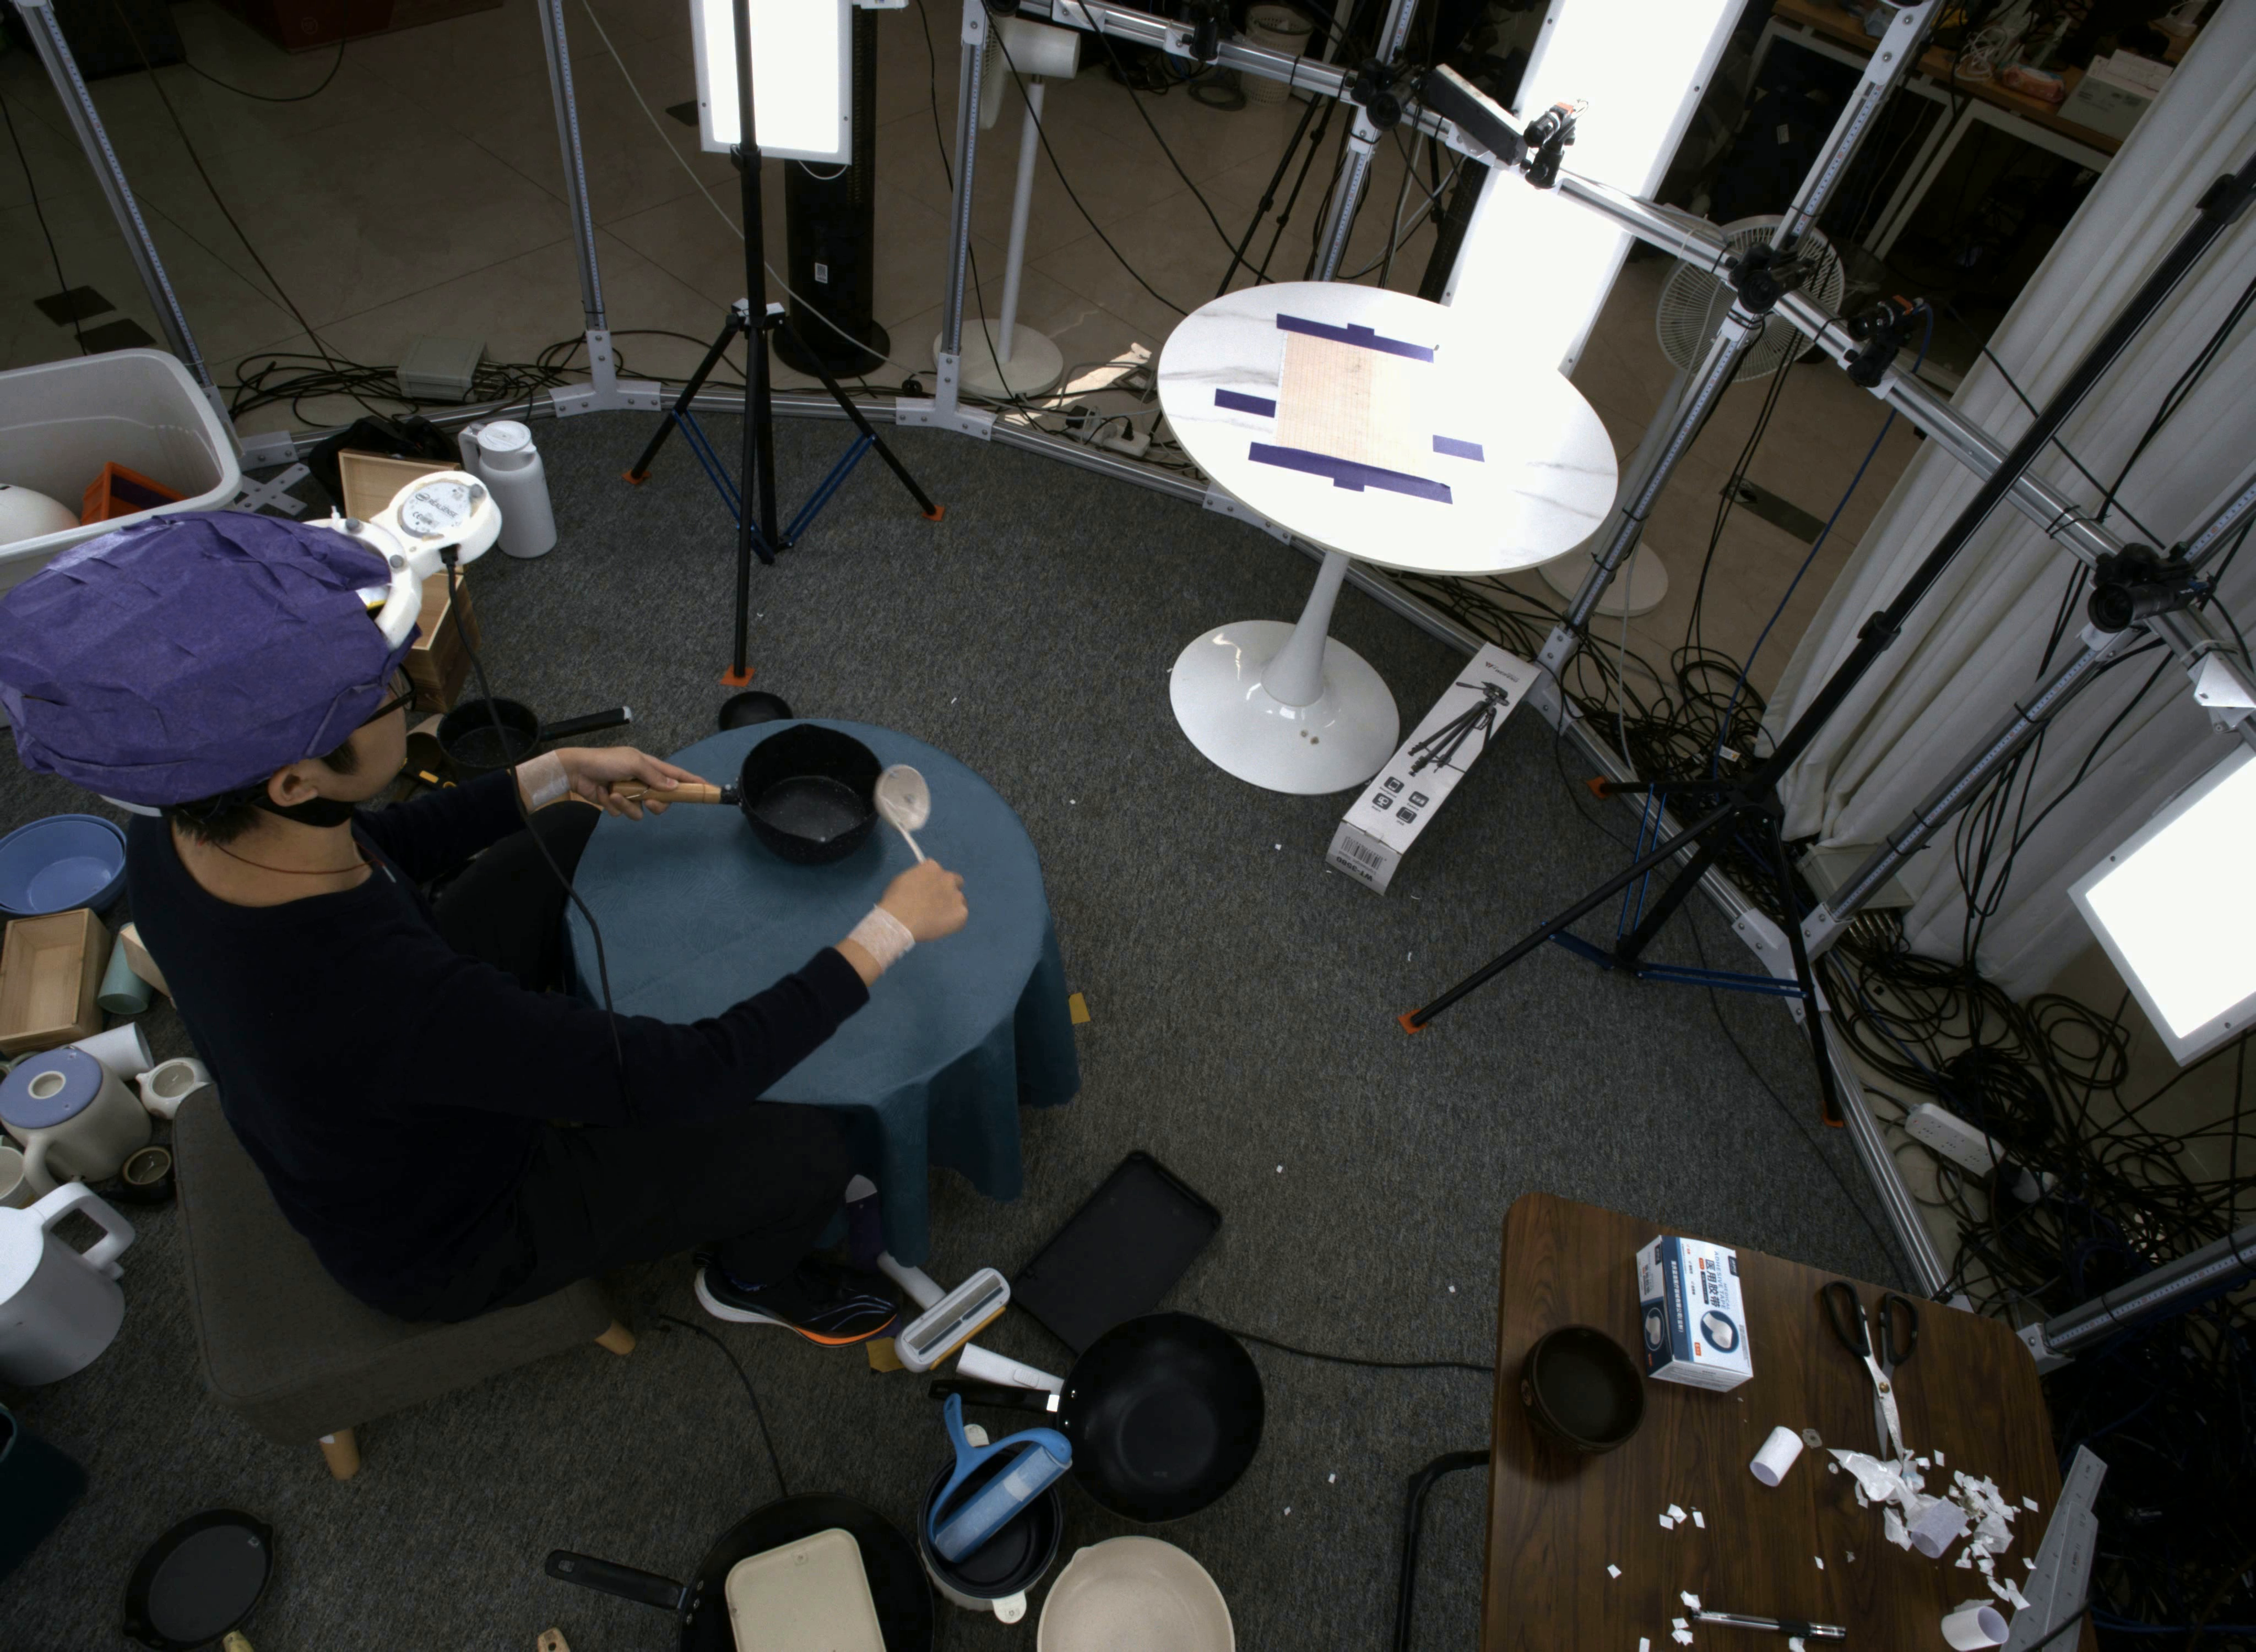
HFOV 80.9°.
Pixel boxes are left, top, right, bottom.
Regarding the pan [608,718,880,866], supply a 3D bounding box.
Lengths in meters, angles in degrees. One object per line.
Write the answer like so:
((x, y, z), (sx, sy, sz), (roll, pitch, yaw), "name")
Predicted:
((-0.484, -0.034, 1.645), (0.345, 0.110, 0.202), (-6, 56, -24), "pan")

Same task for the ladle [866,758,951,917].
((-0.240, 0.010, 1.541), (0.069, 0.093, 0.264), (-41, 43, -3), "ladle")
